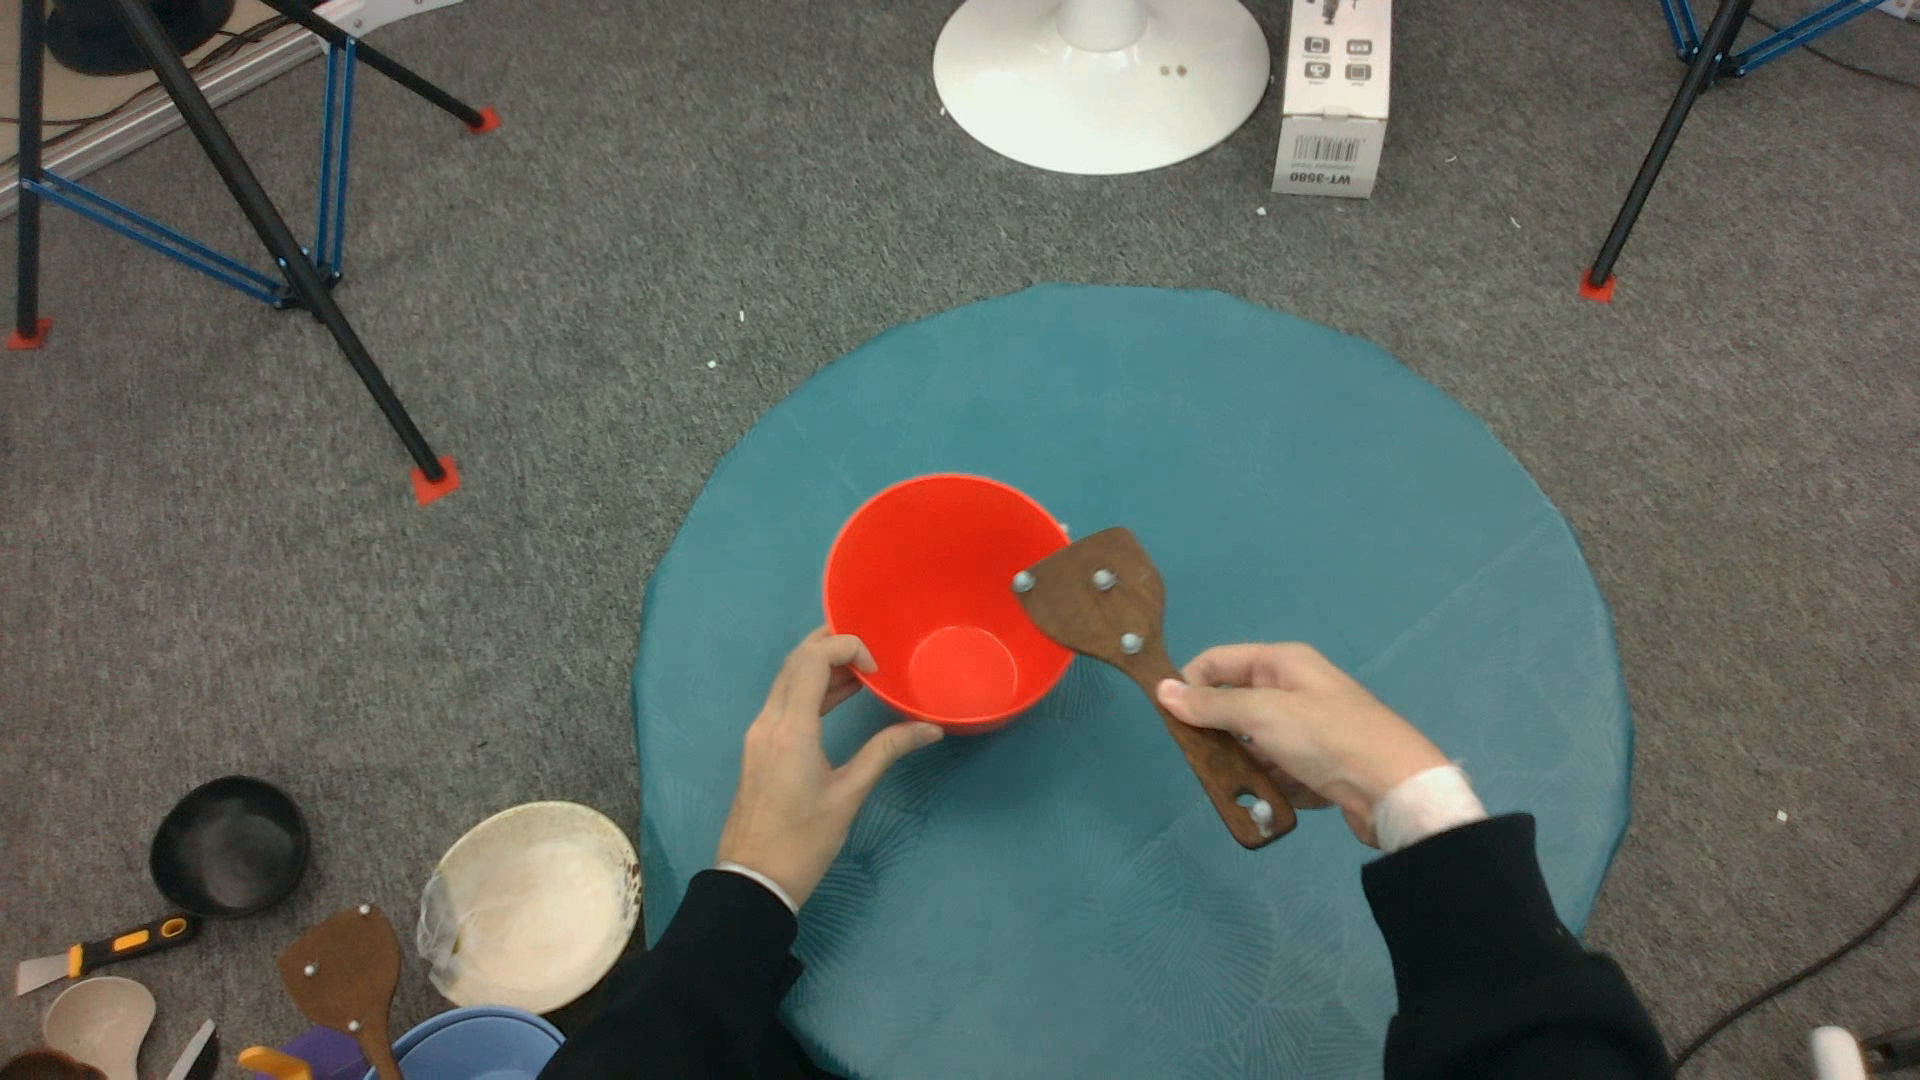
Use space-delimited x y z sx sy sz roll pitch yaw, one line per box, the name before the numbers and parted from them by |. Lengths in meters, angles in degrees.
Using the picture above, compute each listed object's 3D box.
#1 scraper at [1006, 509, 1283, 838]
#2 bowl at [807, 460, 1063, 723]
scraper | 0.090 0.059 0.652 0.076 0.011 0.212 -24 42 -5
bowl | -0.013 0.042 0.797 0.148 0.104 0.148 2 58 -3
